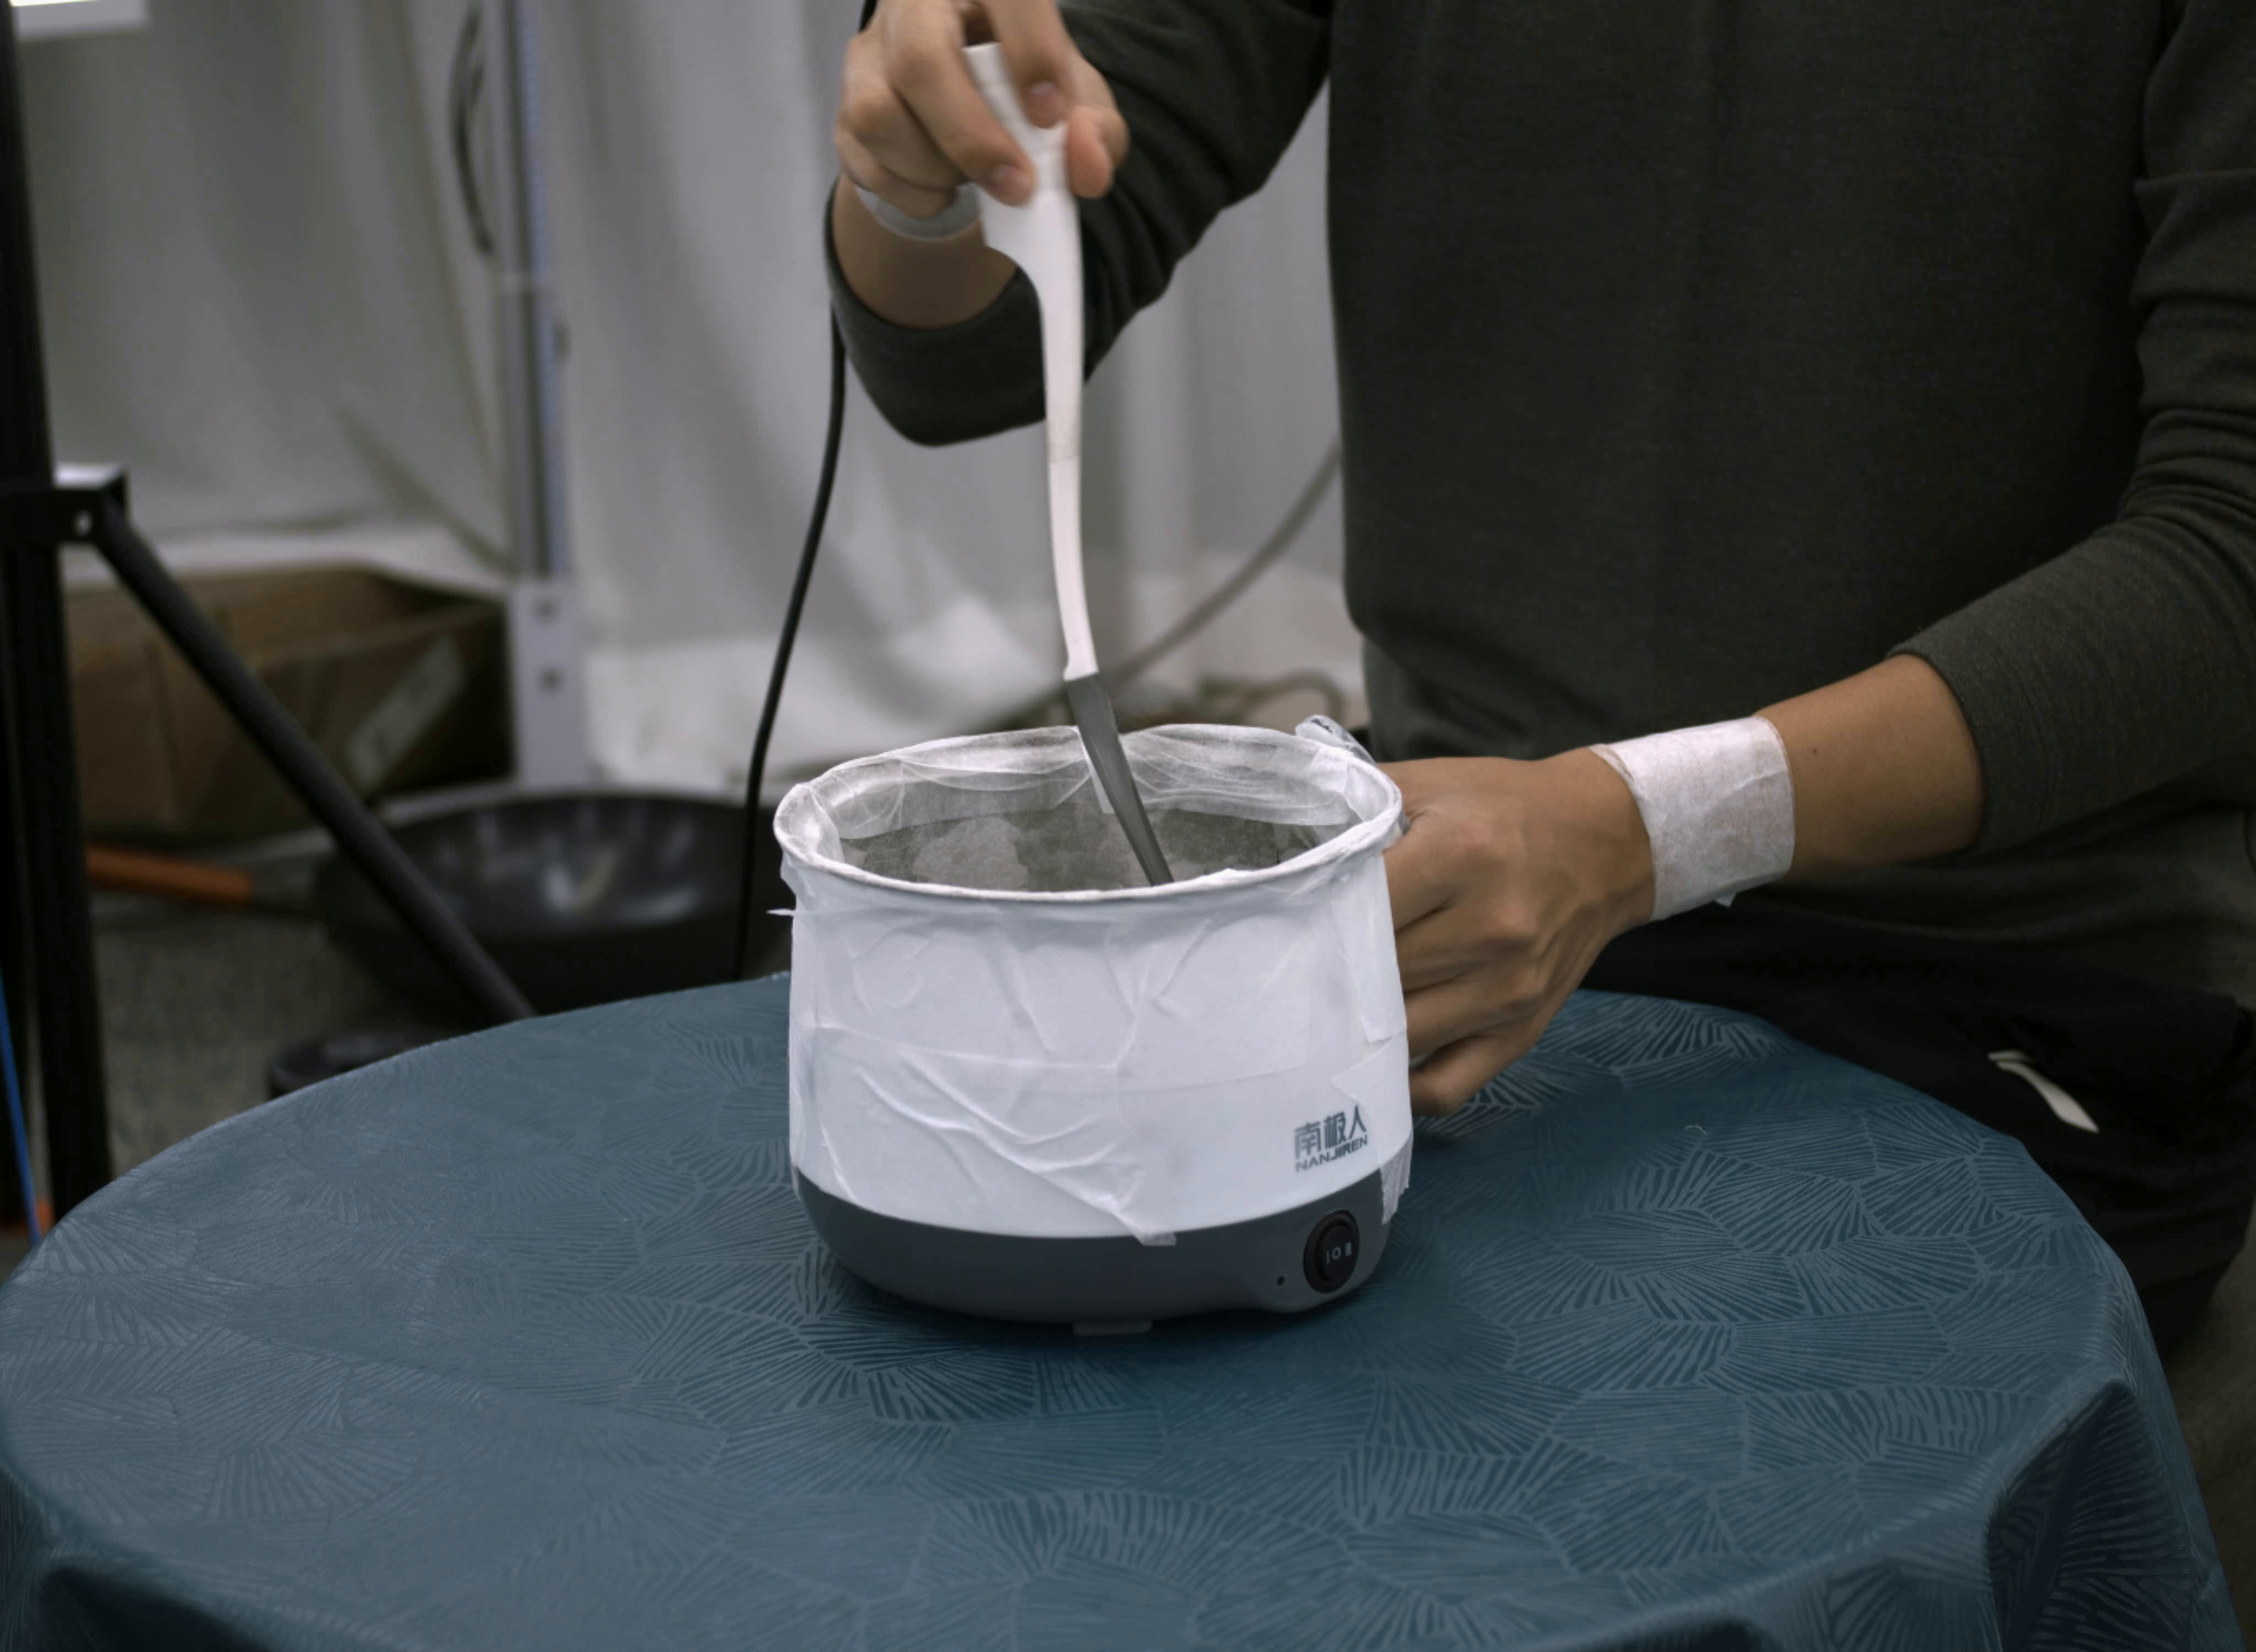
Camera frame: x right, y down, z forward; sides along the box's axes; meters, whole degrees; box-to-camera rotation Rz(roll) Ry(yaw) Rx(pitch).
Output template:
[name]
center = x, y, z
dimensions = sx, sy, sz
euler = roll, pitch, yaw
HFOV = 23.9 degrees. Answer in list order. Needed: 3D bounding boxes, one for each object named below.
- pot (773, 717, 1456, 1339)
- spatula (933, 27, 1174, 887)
[pot]
center = 0.009, 0.050, 1.519
dimensions = 0.183, 0.136, 0.228
euler = 12, 21, 41
[spatula]
center = -0.010, -0.081, 1.518
dimensions = 0.032, 0.288, 0.058
euler = -12, 3, 1
